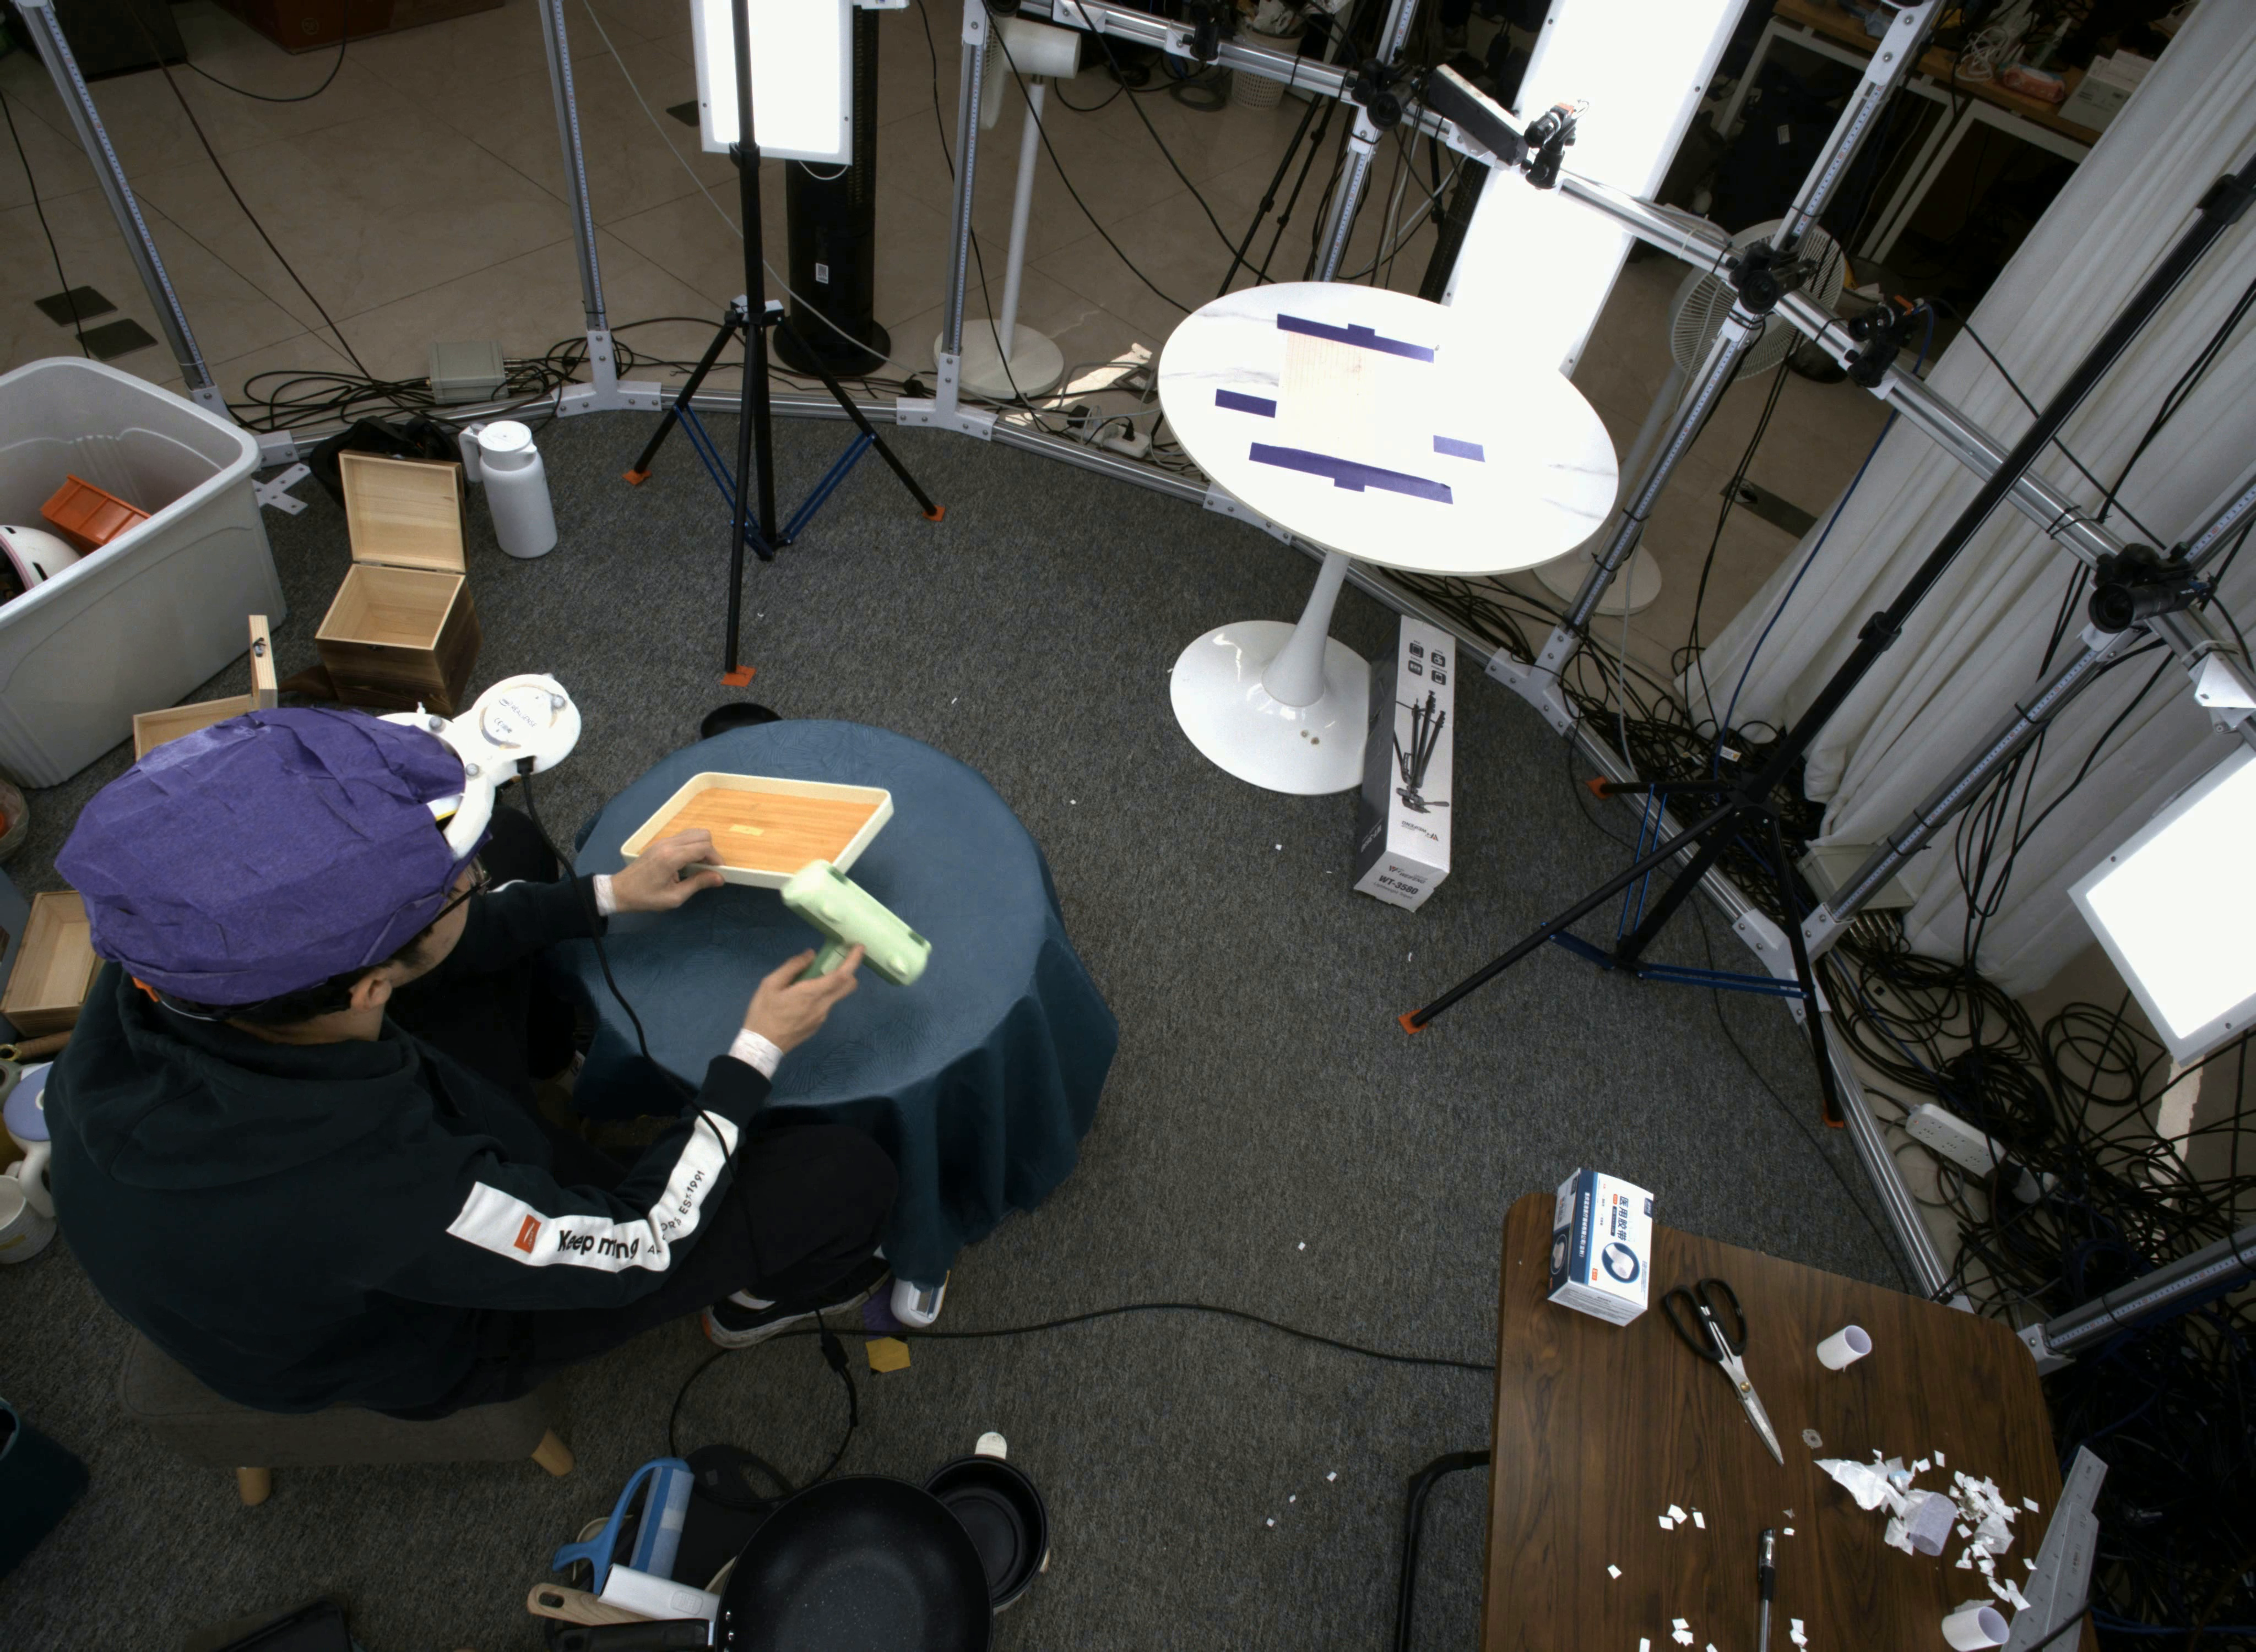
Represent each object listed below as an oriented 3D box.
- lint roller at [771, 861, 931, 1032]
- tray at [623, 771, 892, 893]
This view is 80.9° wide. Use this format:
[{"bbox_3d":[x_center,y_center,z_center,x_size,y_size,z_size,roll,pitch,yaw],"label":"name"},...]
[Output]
[{"bbox_3d":[-0.337,0.164,1.489,0.079,0.206,0.183,17,67,46],"label":"lint roller"},{"bbox_3d":[-0.463,0.004,1.618,0.292,0.028,0.190,7,38,17],"label":"tray"}]
